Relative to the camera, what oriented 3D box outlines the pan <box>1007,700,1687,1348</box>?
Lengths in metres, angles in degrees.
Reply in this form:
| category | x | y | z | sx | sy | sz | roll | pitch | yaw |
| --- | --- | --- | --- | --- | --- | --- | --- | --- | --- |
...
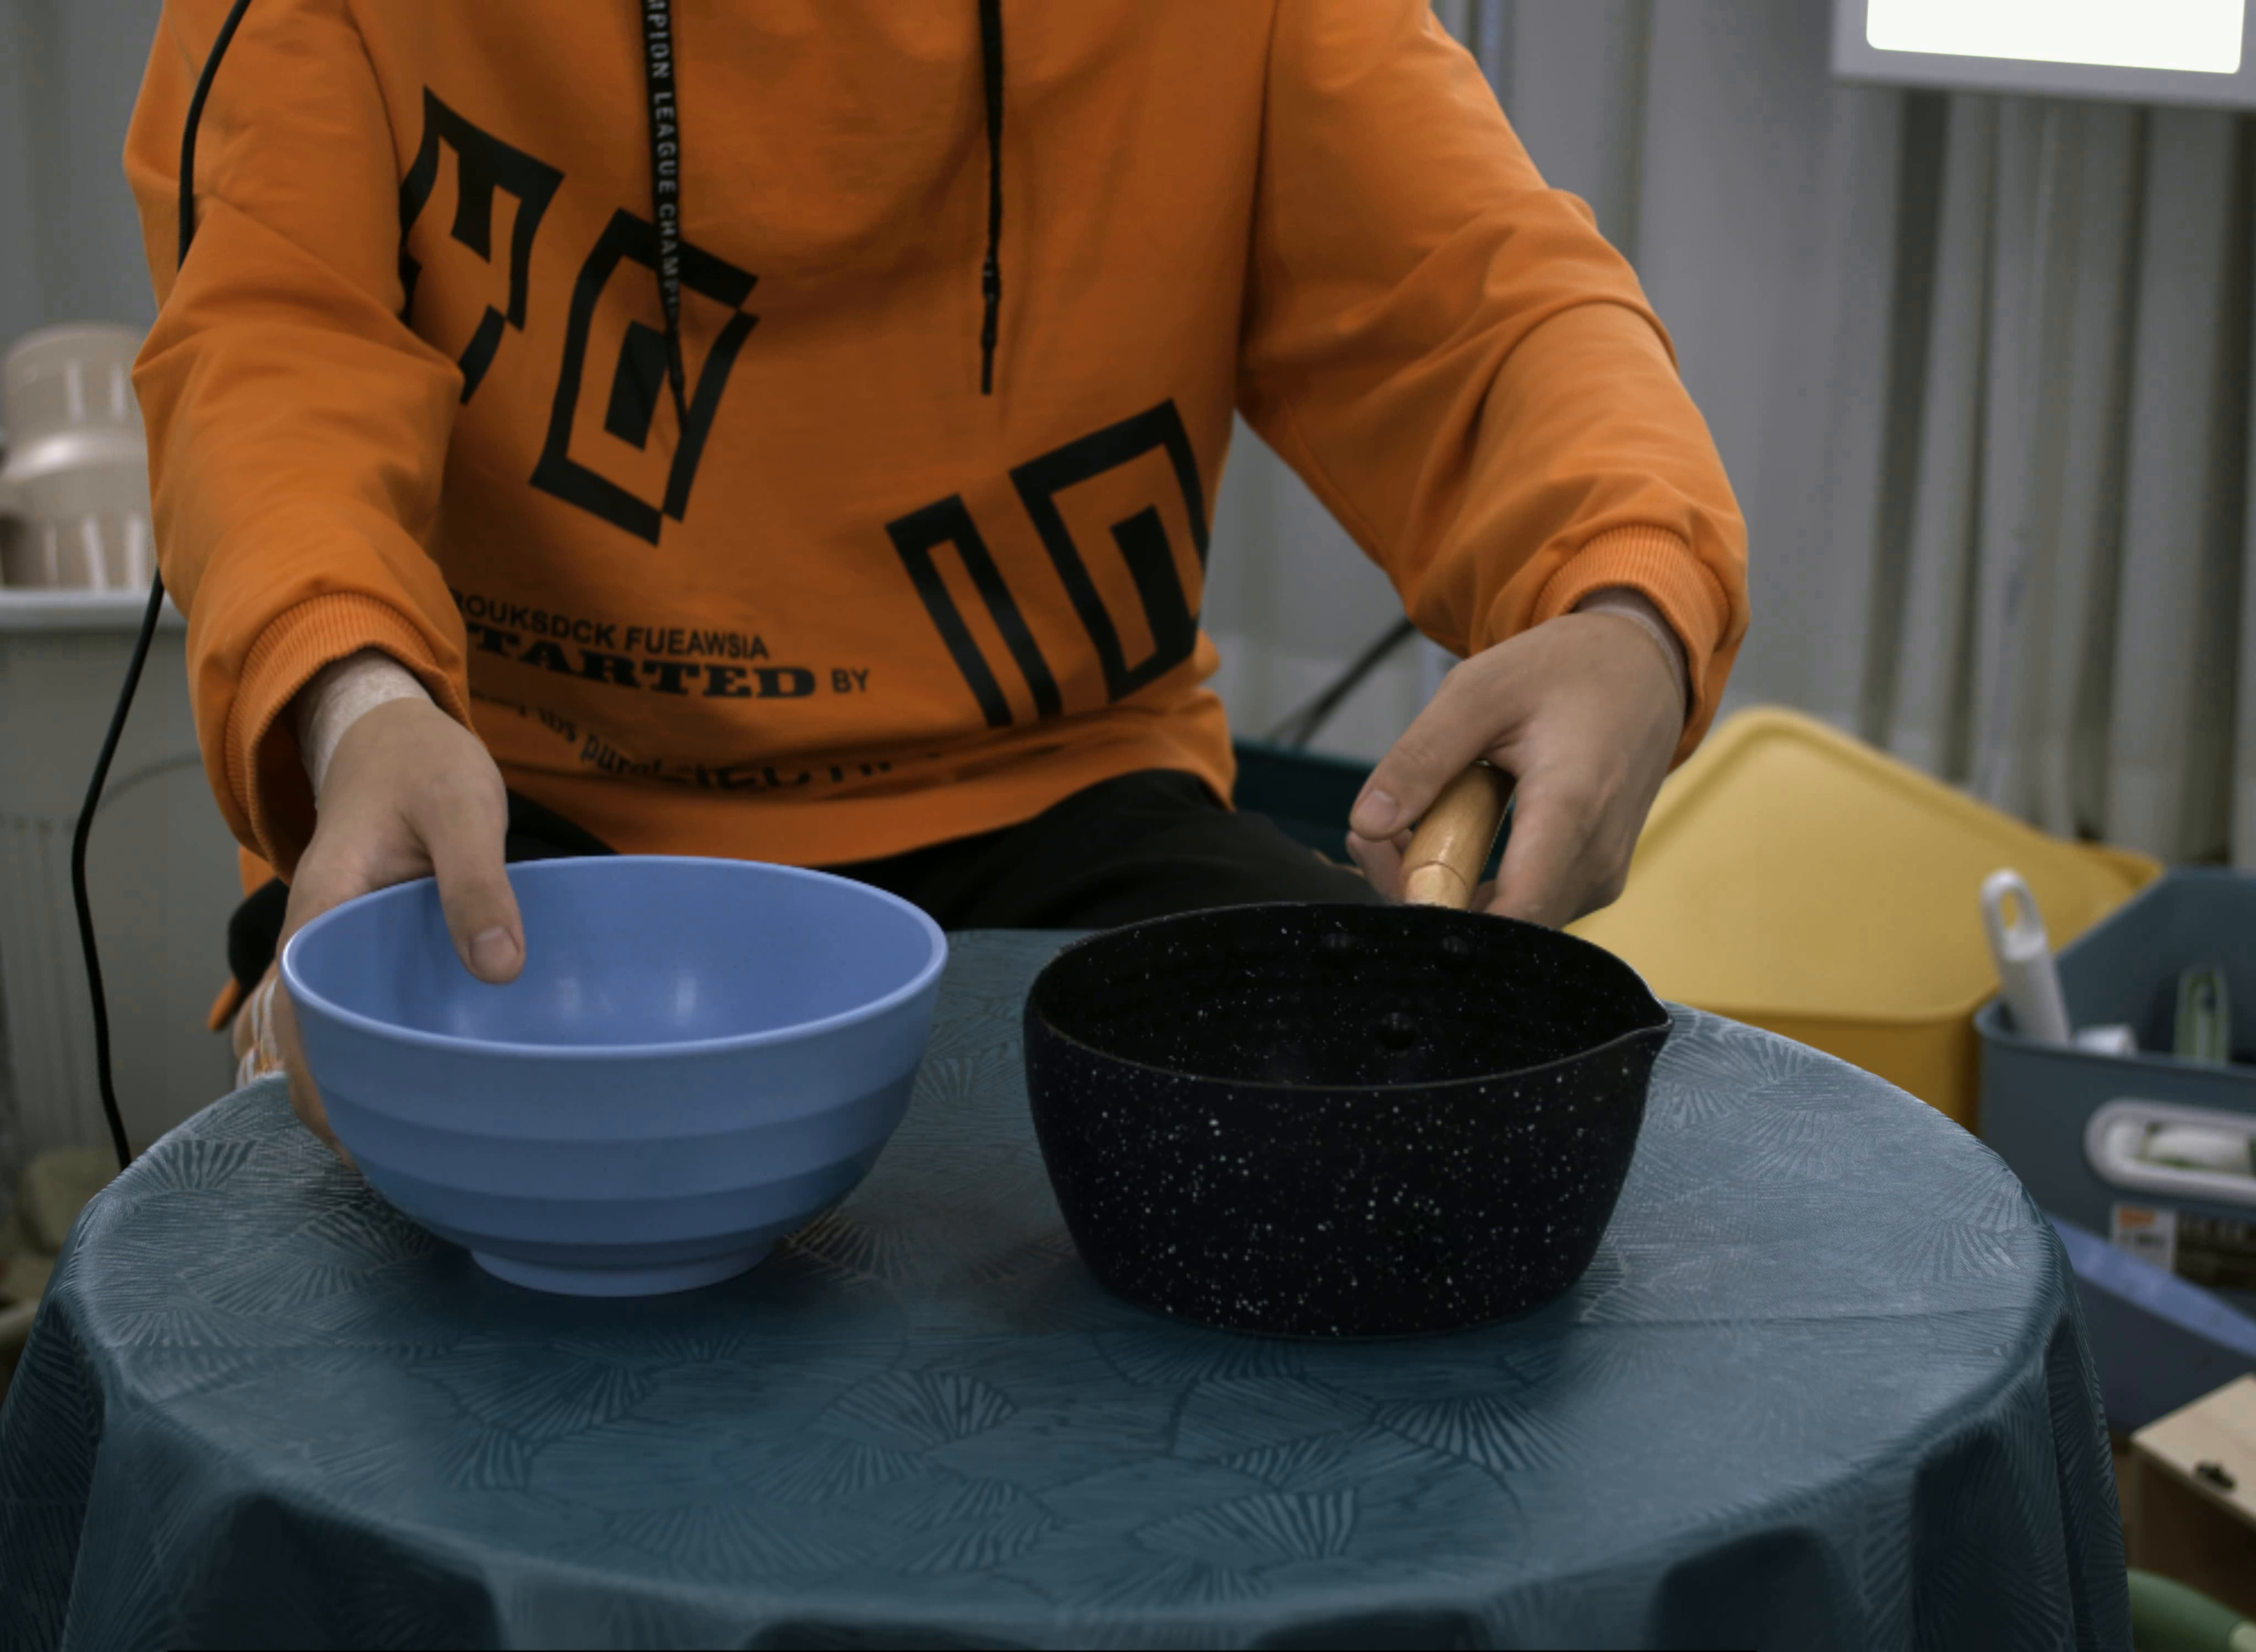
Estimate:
| category | x | y | z | sx | sy | sz | roll | pitch | yaw |
| --- | --- | --- | --- | --- | --- | --- | --- | --- | --- |
| pan | 0.081 | 0.056 | 1.627 | 0.206 | 0.109 | 0.342 | 2 | 17 | 13 |

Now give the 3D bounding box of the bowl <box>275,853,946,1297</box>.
| category | x | y | z | sx | sy | sz | roll | pitch | yaw |
| --- | --- | --- | --- | --- | --- | --- | --- | --- | --- |
| bowl | -0.151 | 0.079 | 1.558 | 0.196 | 0.096 | 0.195 | 0 | 16 | 1 |
